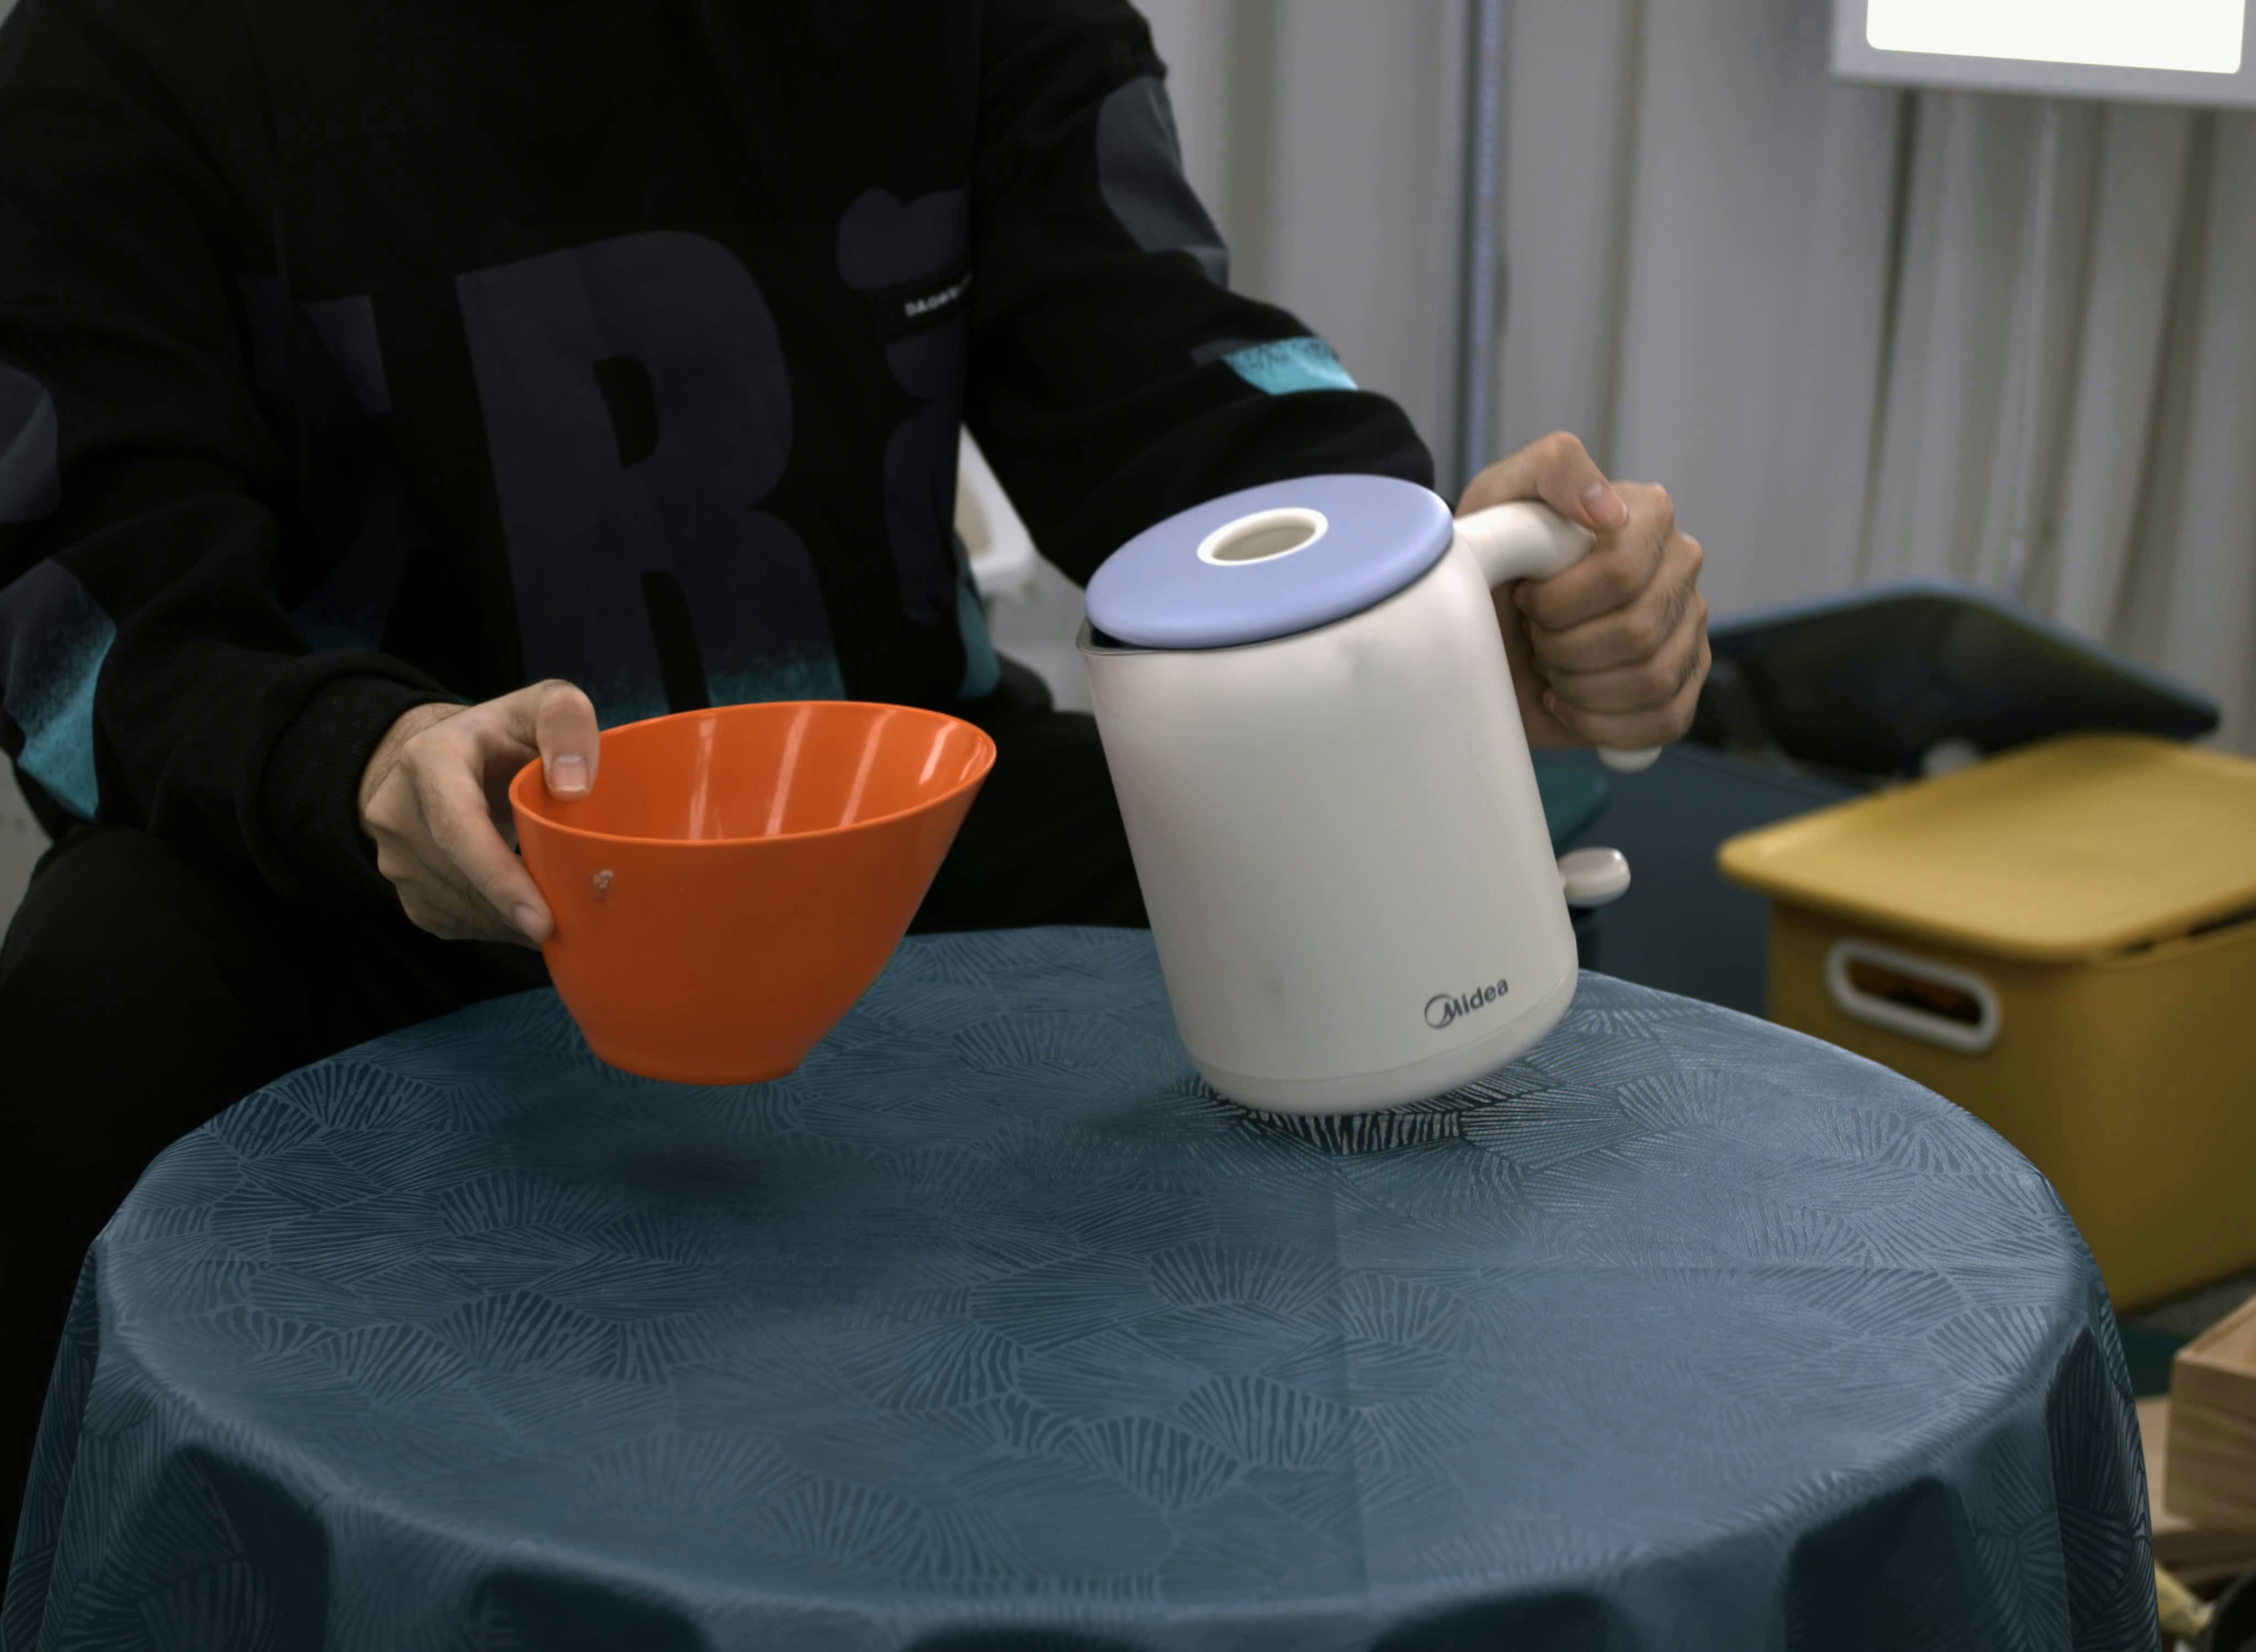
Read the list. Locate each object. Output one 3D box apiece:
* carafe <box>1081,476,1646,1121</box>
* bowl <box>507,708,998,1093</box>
[{"bbox_3d":[0.083,-0.018,1.679,0.191,0.184,0.130,-22,25,-23],"label":"carafe"},{"bbox_3d":[-0.118,0.023,1.608,0.147,0.105,0.147,6,15,-1],"label":"bowl"}]
